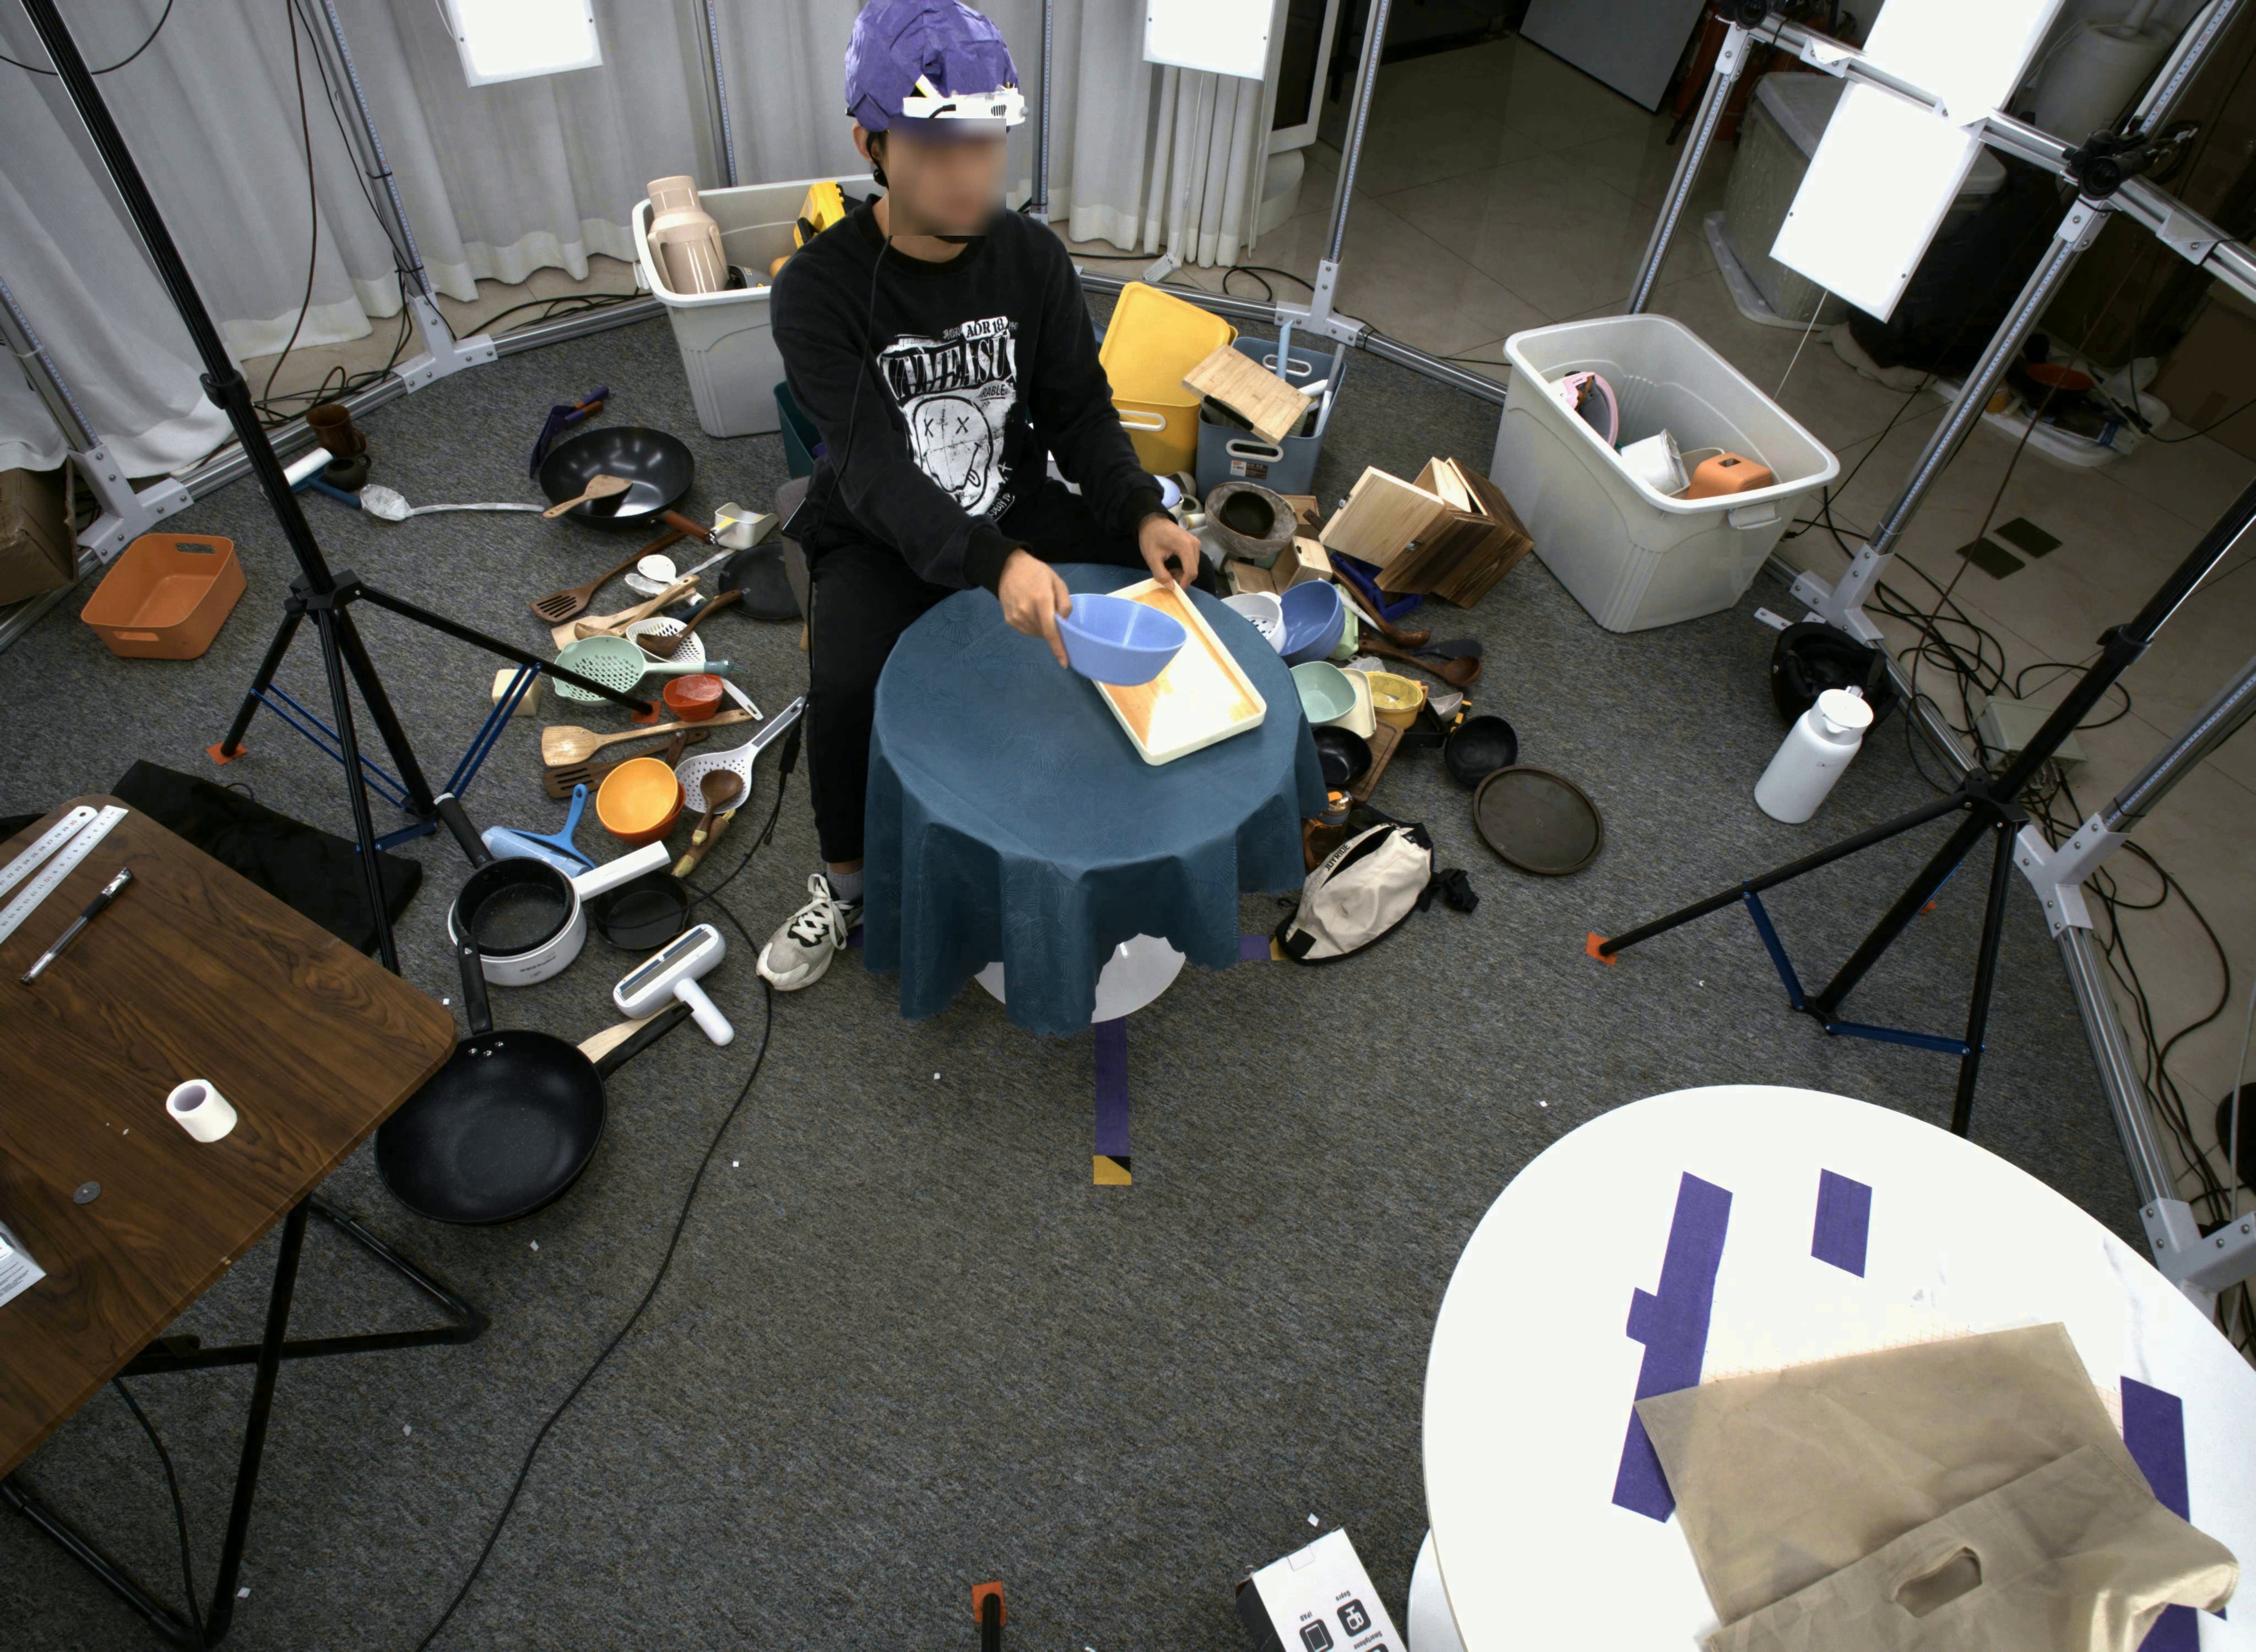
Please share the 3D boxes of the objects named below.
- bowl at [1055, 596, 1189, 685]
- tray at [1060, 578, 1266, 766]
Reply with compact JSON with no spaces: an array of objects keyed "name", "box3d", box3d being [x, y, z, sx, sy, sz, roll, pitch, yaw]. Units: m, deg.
[{"name":"bowl","box3d":[-0.015,-0.234,1.652,0.175,0.069,0.179,13,26,-6]},{"name":"tray","box3d":[0.047,-0.227,1.849,0.192,0.027,0.307,-22,57,-15]}]
